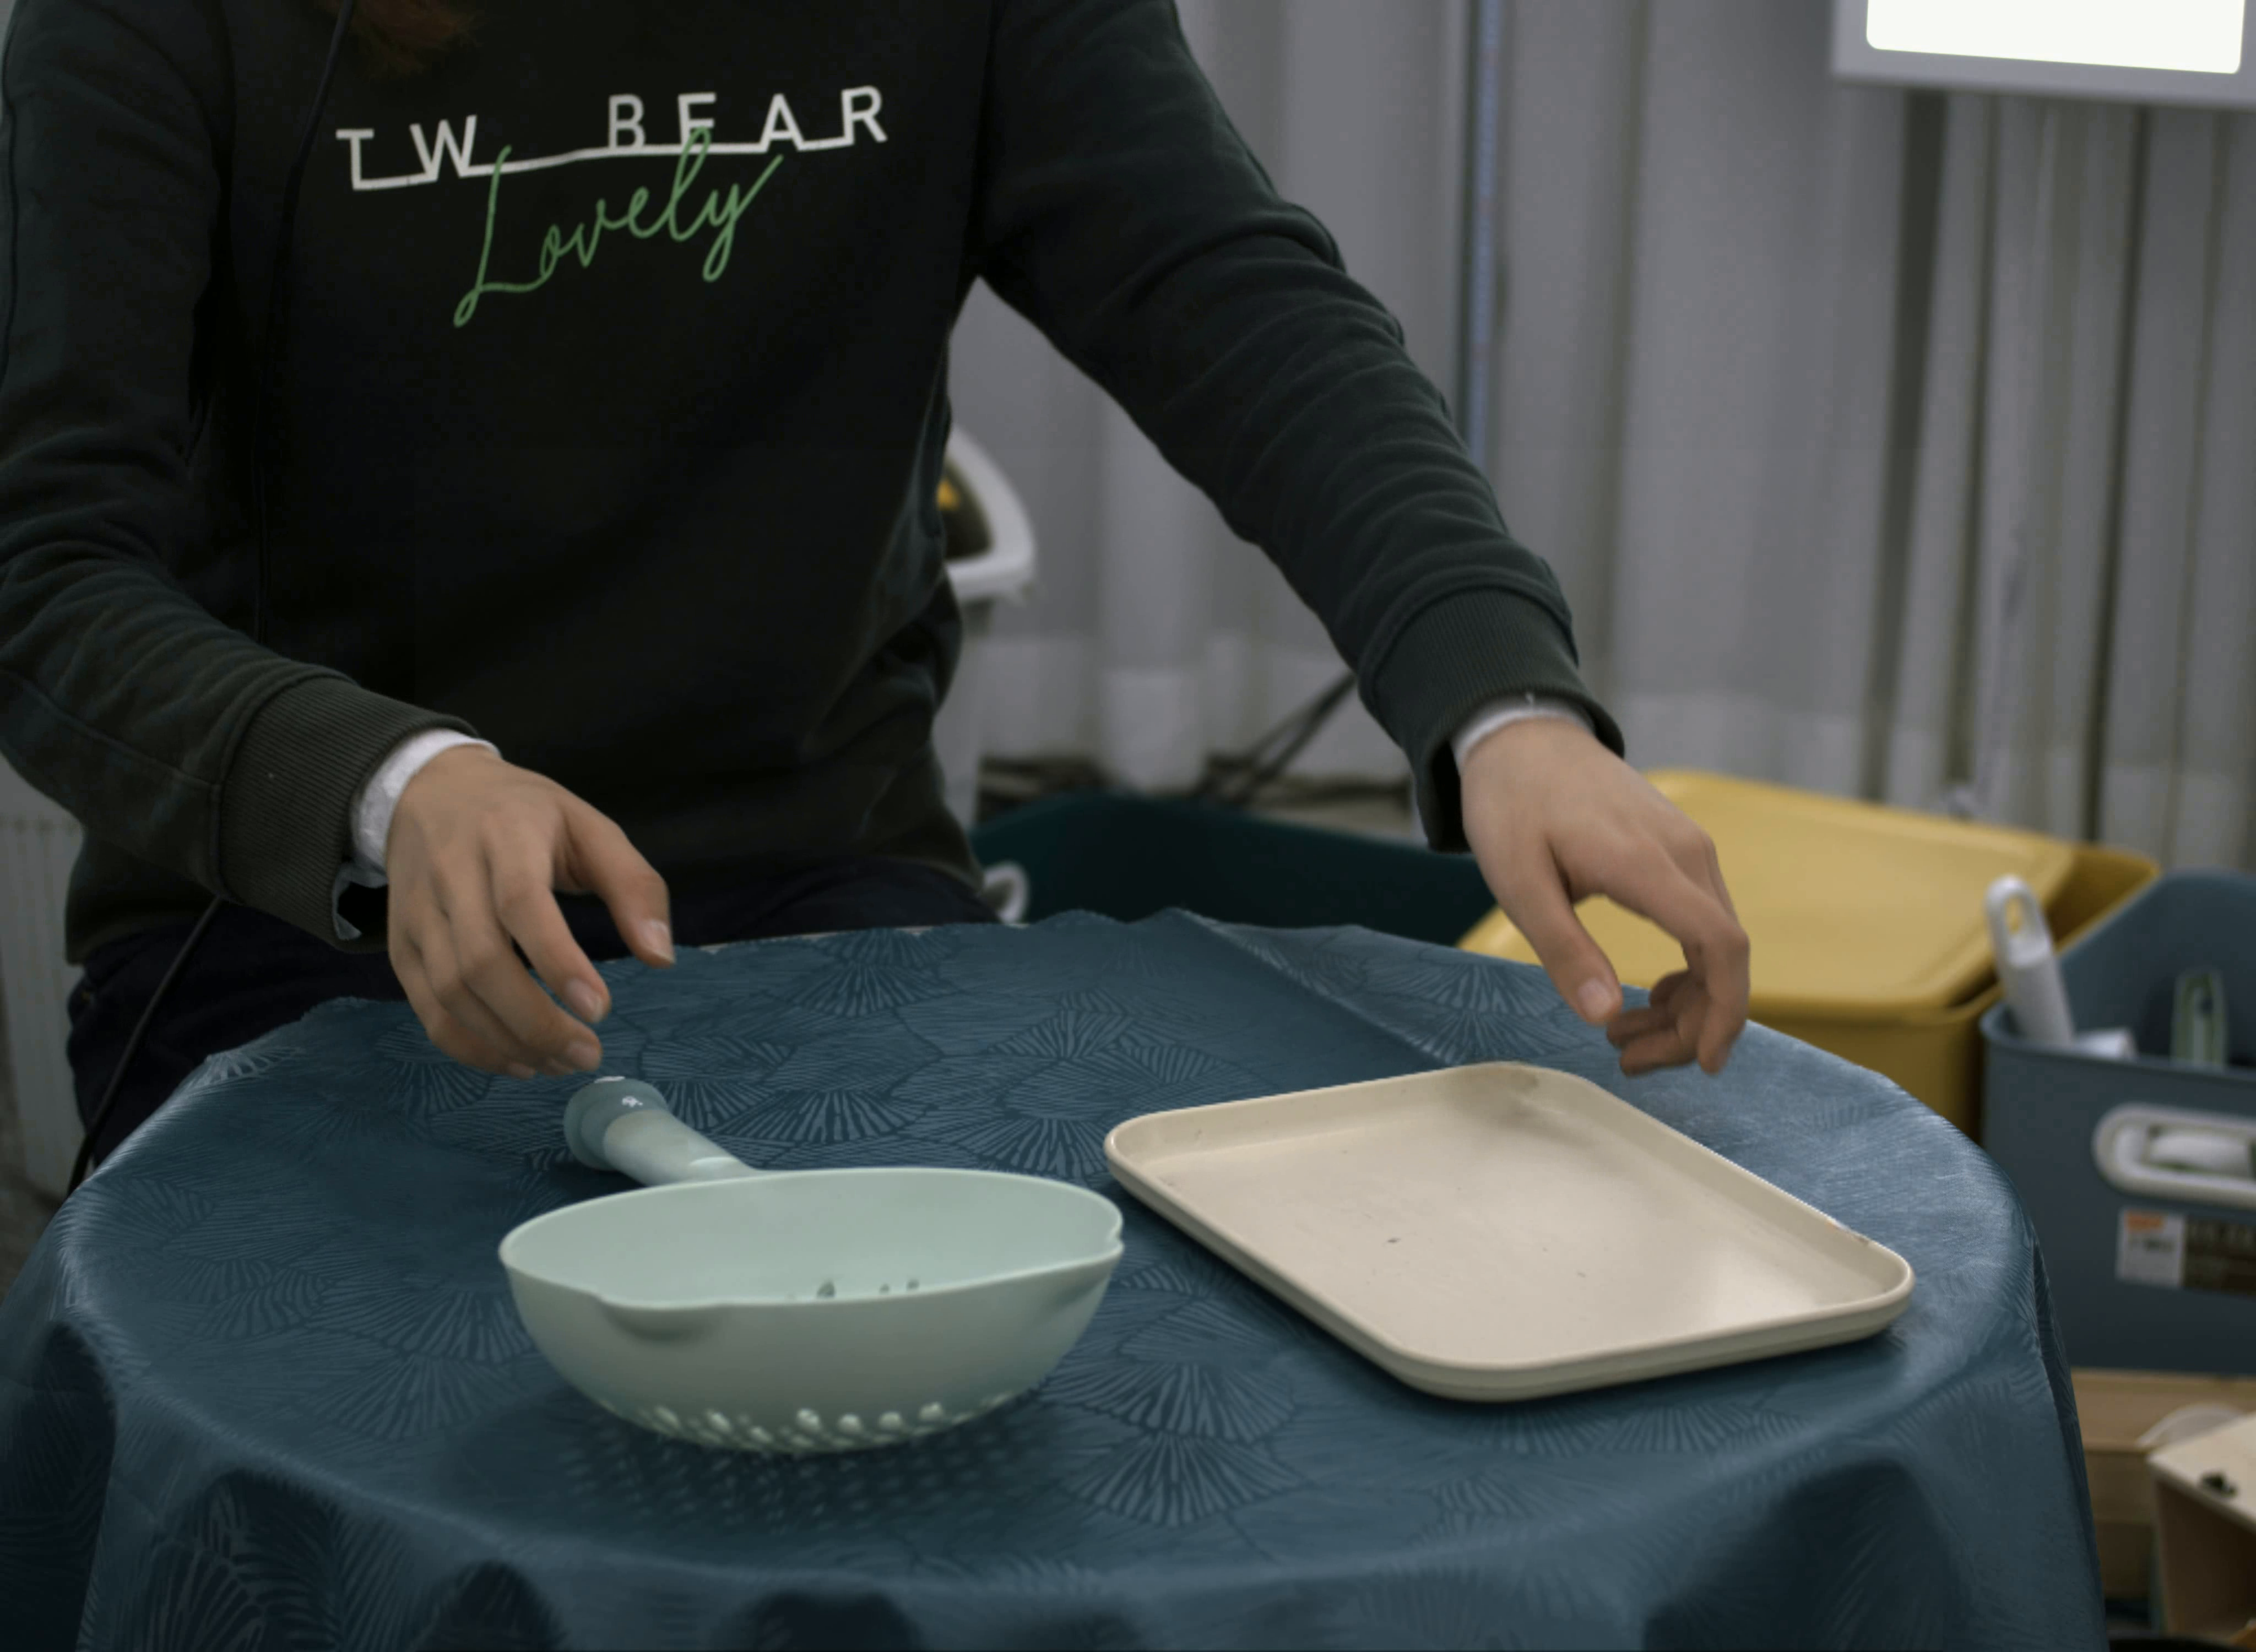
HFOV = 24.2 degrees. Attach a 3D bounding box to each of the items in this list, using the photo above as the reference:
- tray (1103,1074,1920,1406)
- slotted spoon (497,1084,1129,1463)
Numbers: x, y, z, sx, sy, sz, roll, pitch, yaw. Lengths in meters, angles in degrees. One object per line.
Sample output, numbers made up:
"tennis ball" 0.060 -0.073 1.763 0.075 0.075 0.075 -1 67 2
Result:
"tray" 0.110 0.121 1.570 0.172 0.017 0.237 -7 17 -26
"slotted spoon" -0.115 0.111 1.510 0.170 0.076 0.355 -4 16 -18
